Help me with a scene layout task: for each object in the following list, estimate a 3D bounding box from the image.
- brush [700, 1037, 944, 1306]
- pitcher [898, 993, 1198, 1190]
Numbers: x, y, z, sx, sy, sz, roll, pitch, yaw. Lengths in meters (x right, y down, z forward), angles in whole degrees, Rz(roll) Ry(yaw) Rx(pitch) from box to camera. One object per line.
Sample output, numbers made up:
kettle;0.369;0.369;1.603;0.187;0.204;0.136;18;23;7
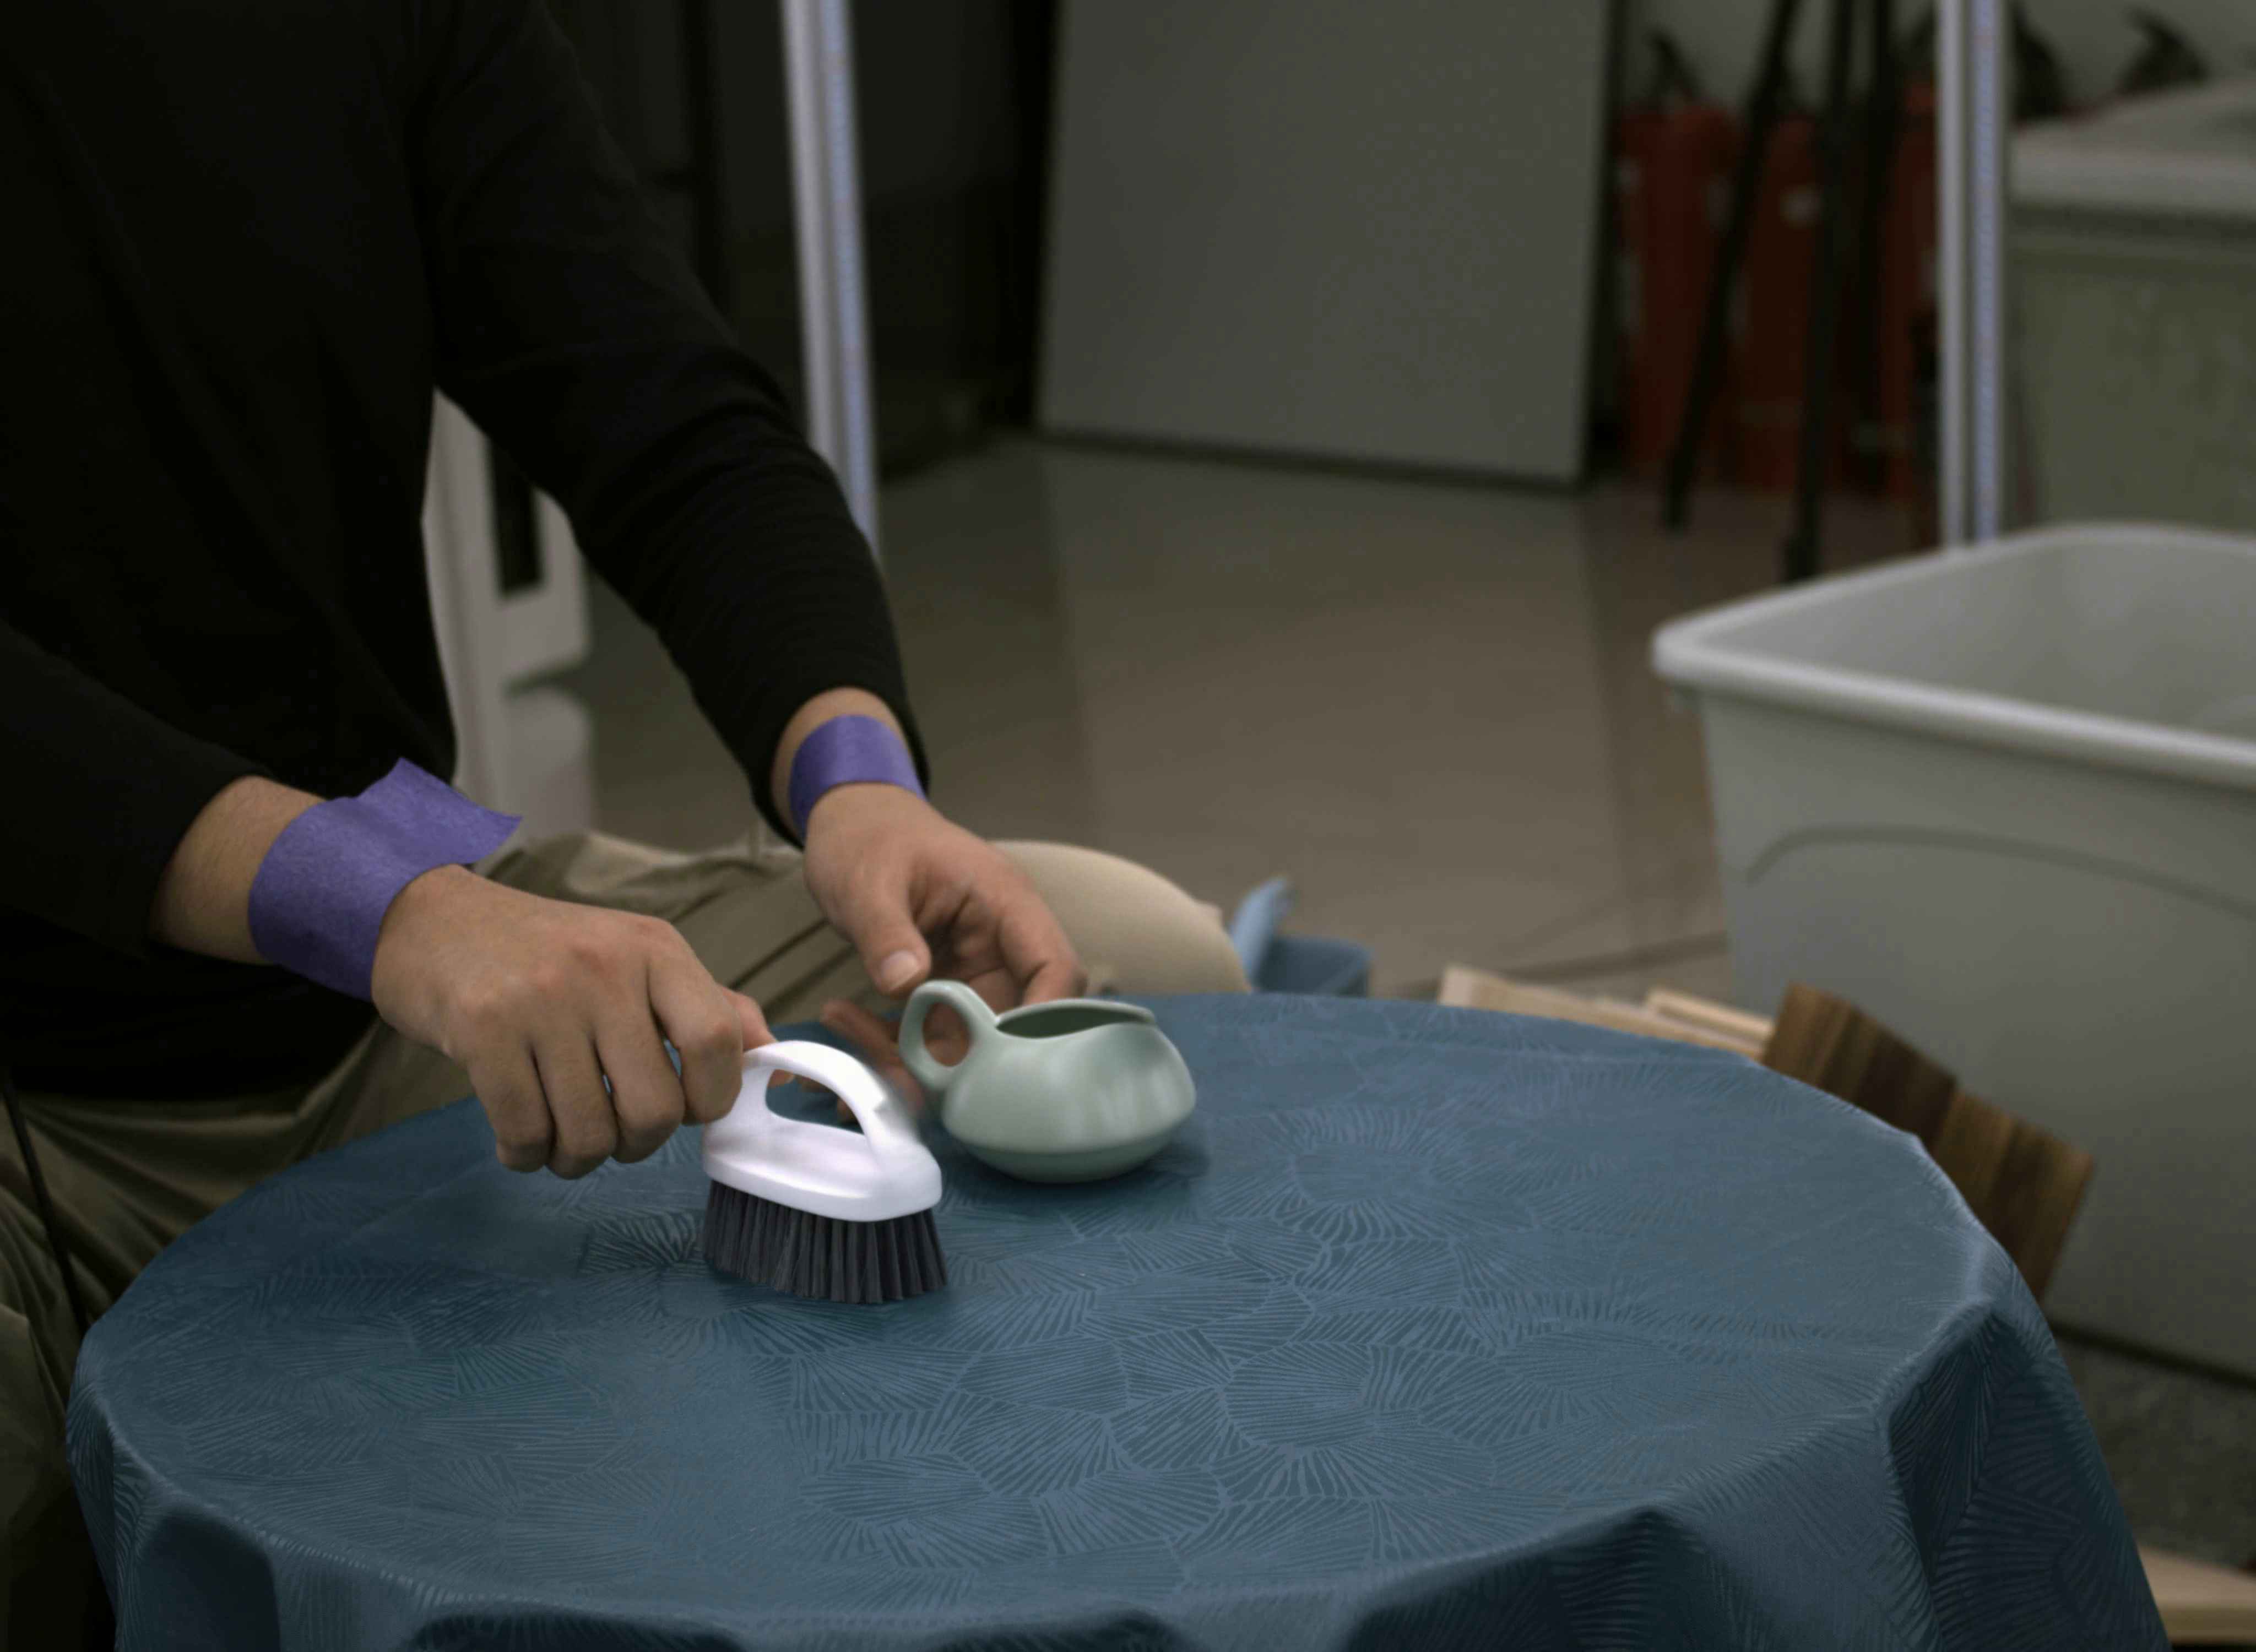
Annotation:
brush;-0.099;0.105;1.708;0.049;0.073;0.100;-11;16;-36
pitcher;-0.030;0.087;1.802;0.108;0.061;0.085;1;14;30
